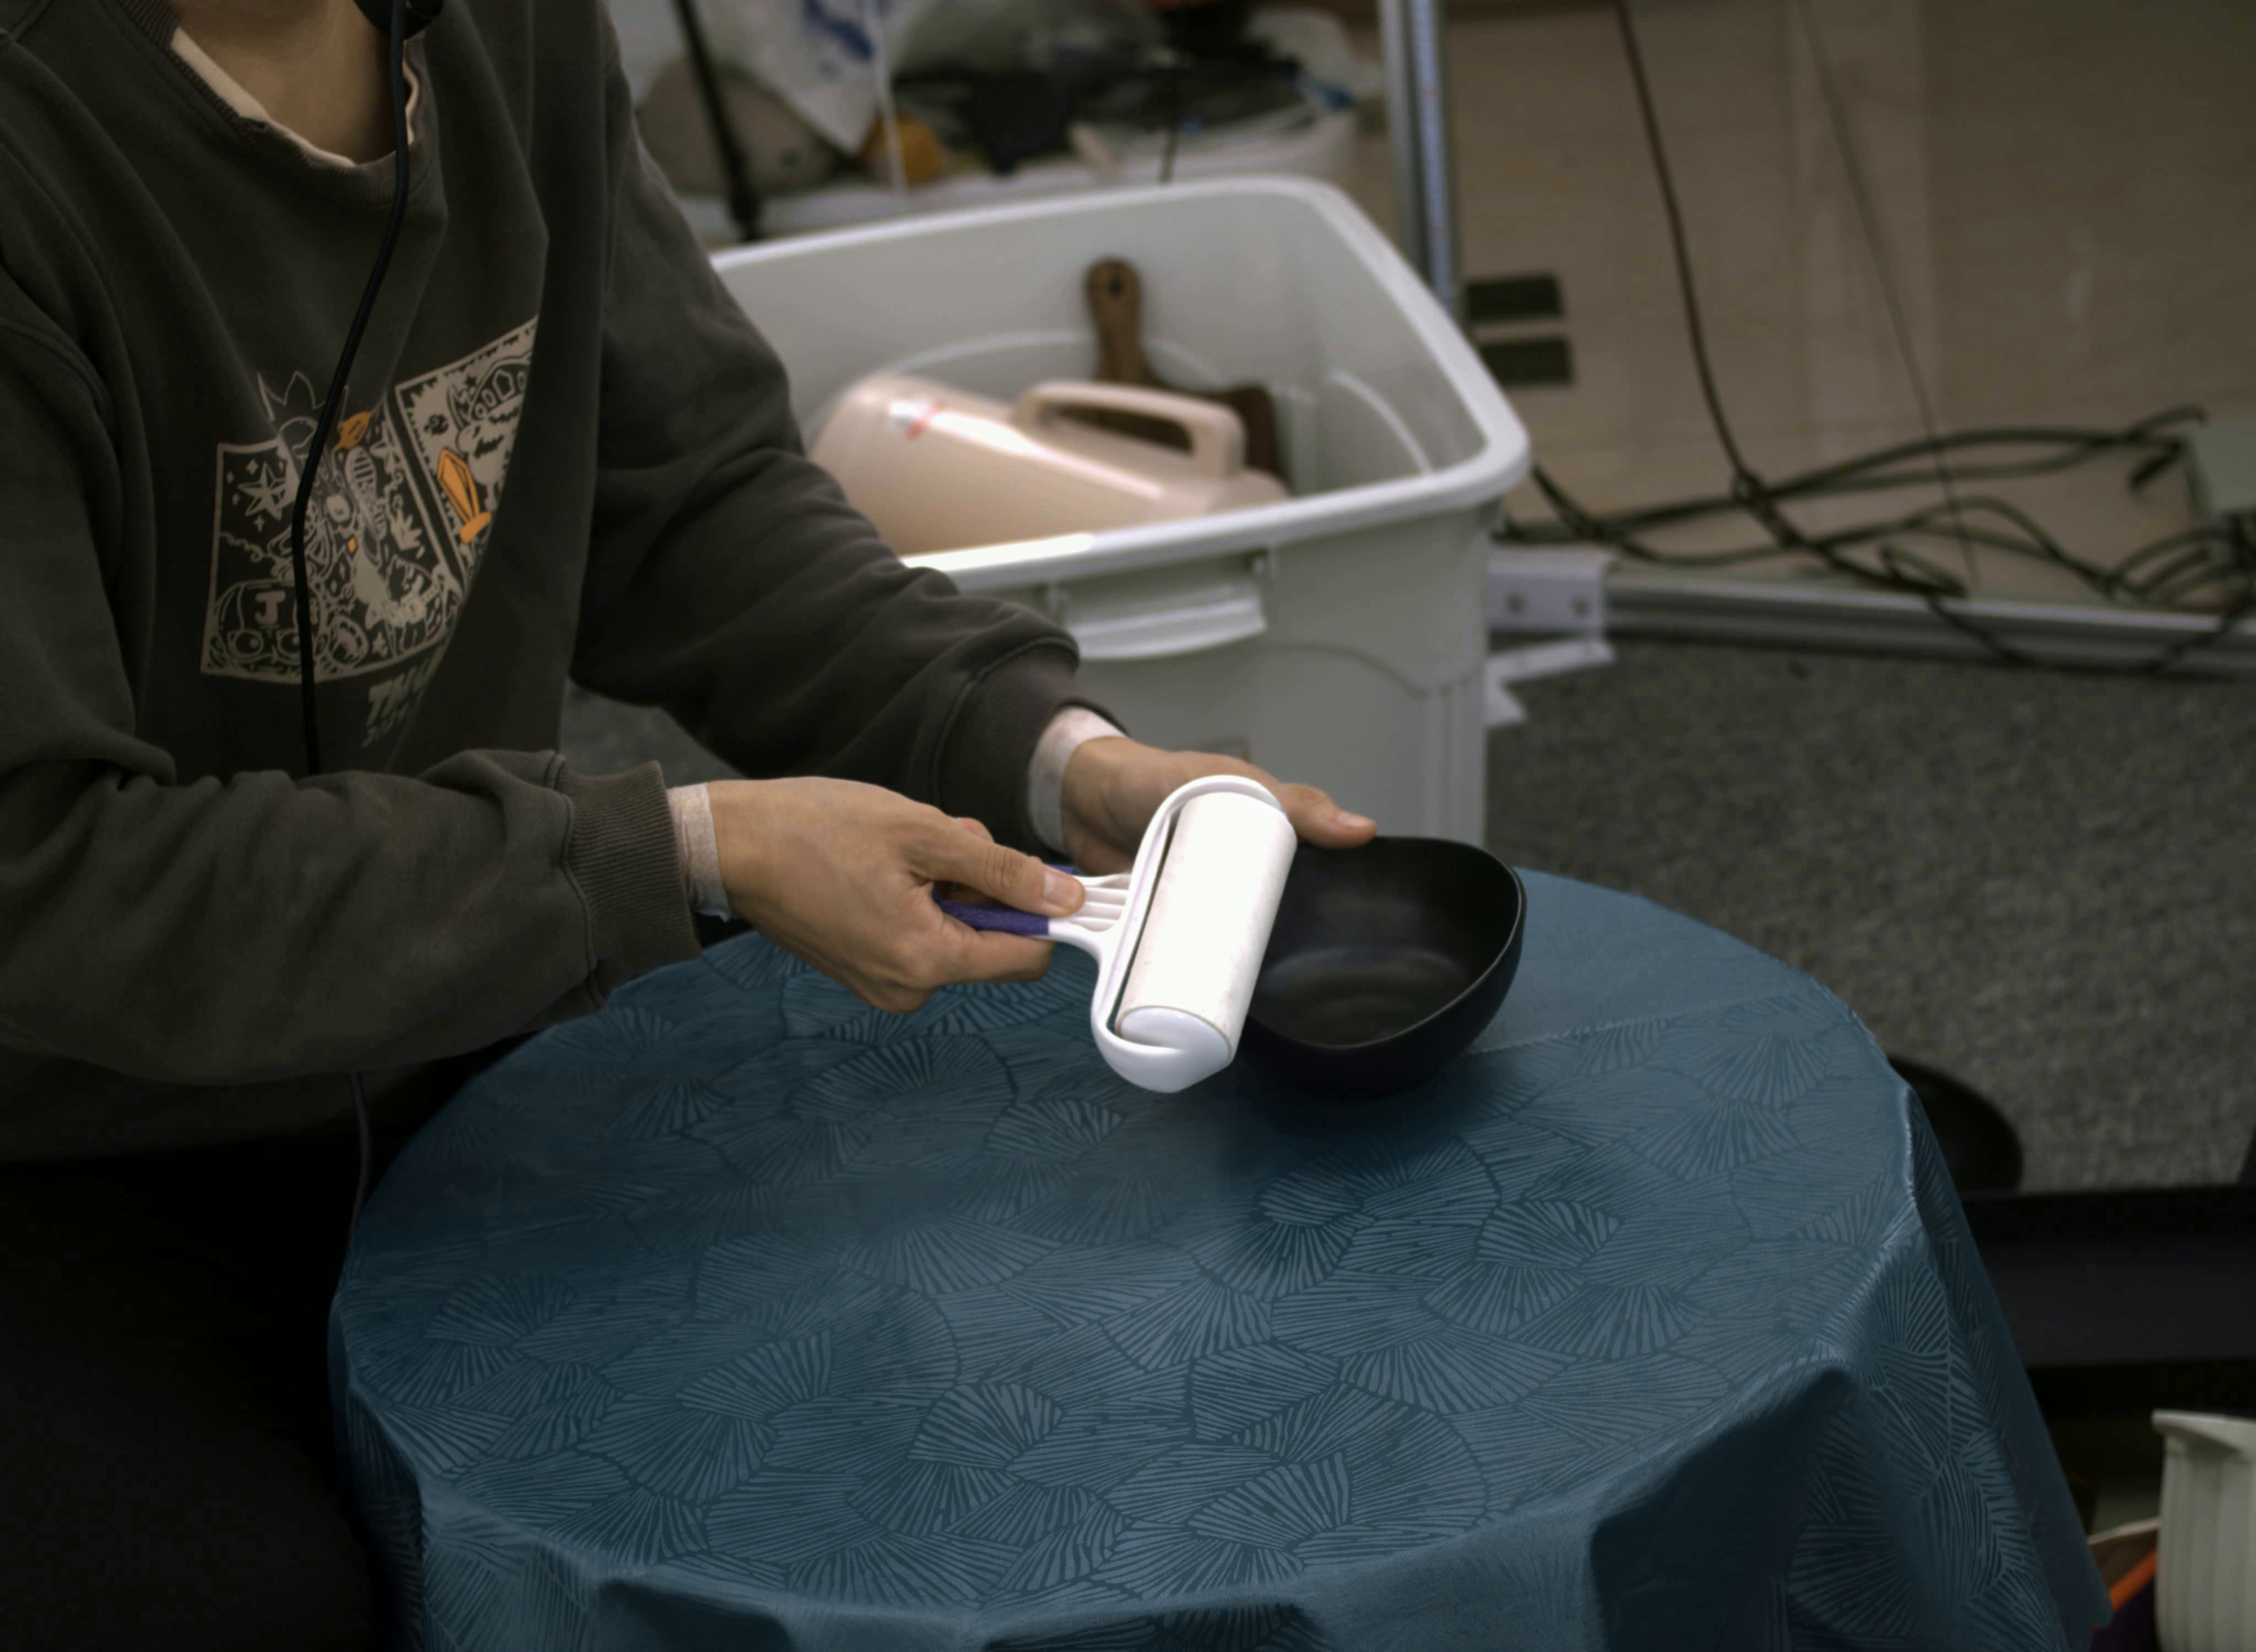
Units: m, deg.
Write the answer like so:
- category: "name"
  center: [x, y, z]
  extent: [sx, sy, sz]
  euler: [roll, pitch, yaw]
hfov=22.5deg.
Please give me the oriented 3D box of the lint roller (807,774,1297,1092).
- category: "lint roller"
  center: [-0.033, 0.022, 2.136]
  extent: [0.180, 0.051, 0.131]
  euler: [17, 58, 4]

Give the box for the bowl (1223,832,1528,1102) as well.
- category: "bowl"
  center: [0.090, 0.063, 2.212]
  extent: [0.137, 0.068, 0.167]
  euler: [-6, 27, 3]
